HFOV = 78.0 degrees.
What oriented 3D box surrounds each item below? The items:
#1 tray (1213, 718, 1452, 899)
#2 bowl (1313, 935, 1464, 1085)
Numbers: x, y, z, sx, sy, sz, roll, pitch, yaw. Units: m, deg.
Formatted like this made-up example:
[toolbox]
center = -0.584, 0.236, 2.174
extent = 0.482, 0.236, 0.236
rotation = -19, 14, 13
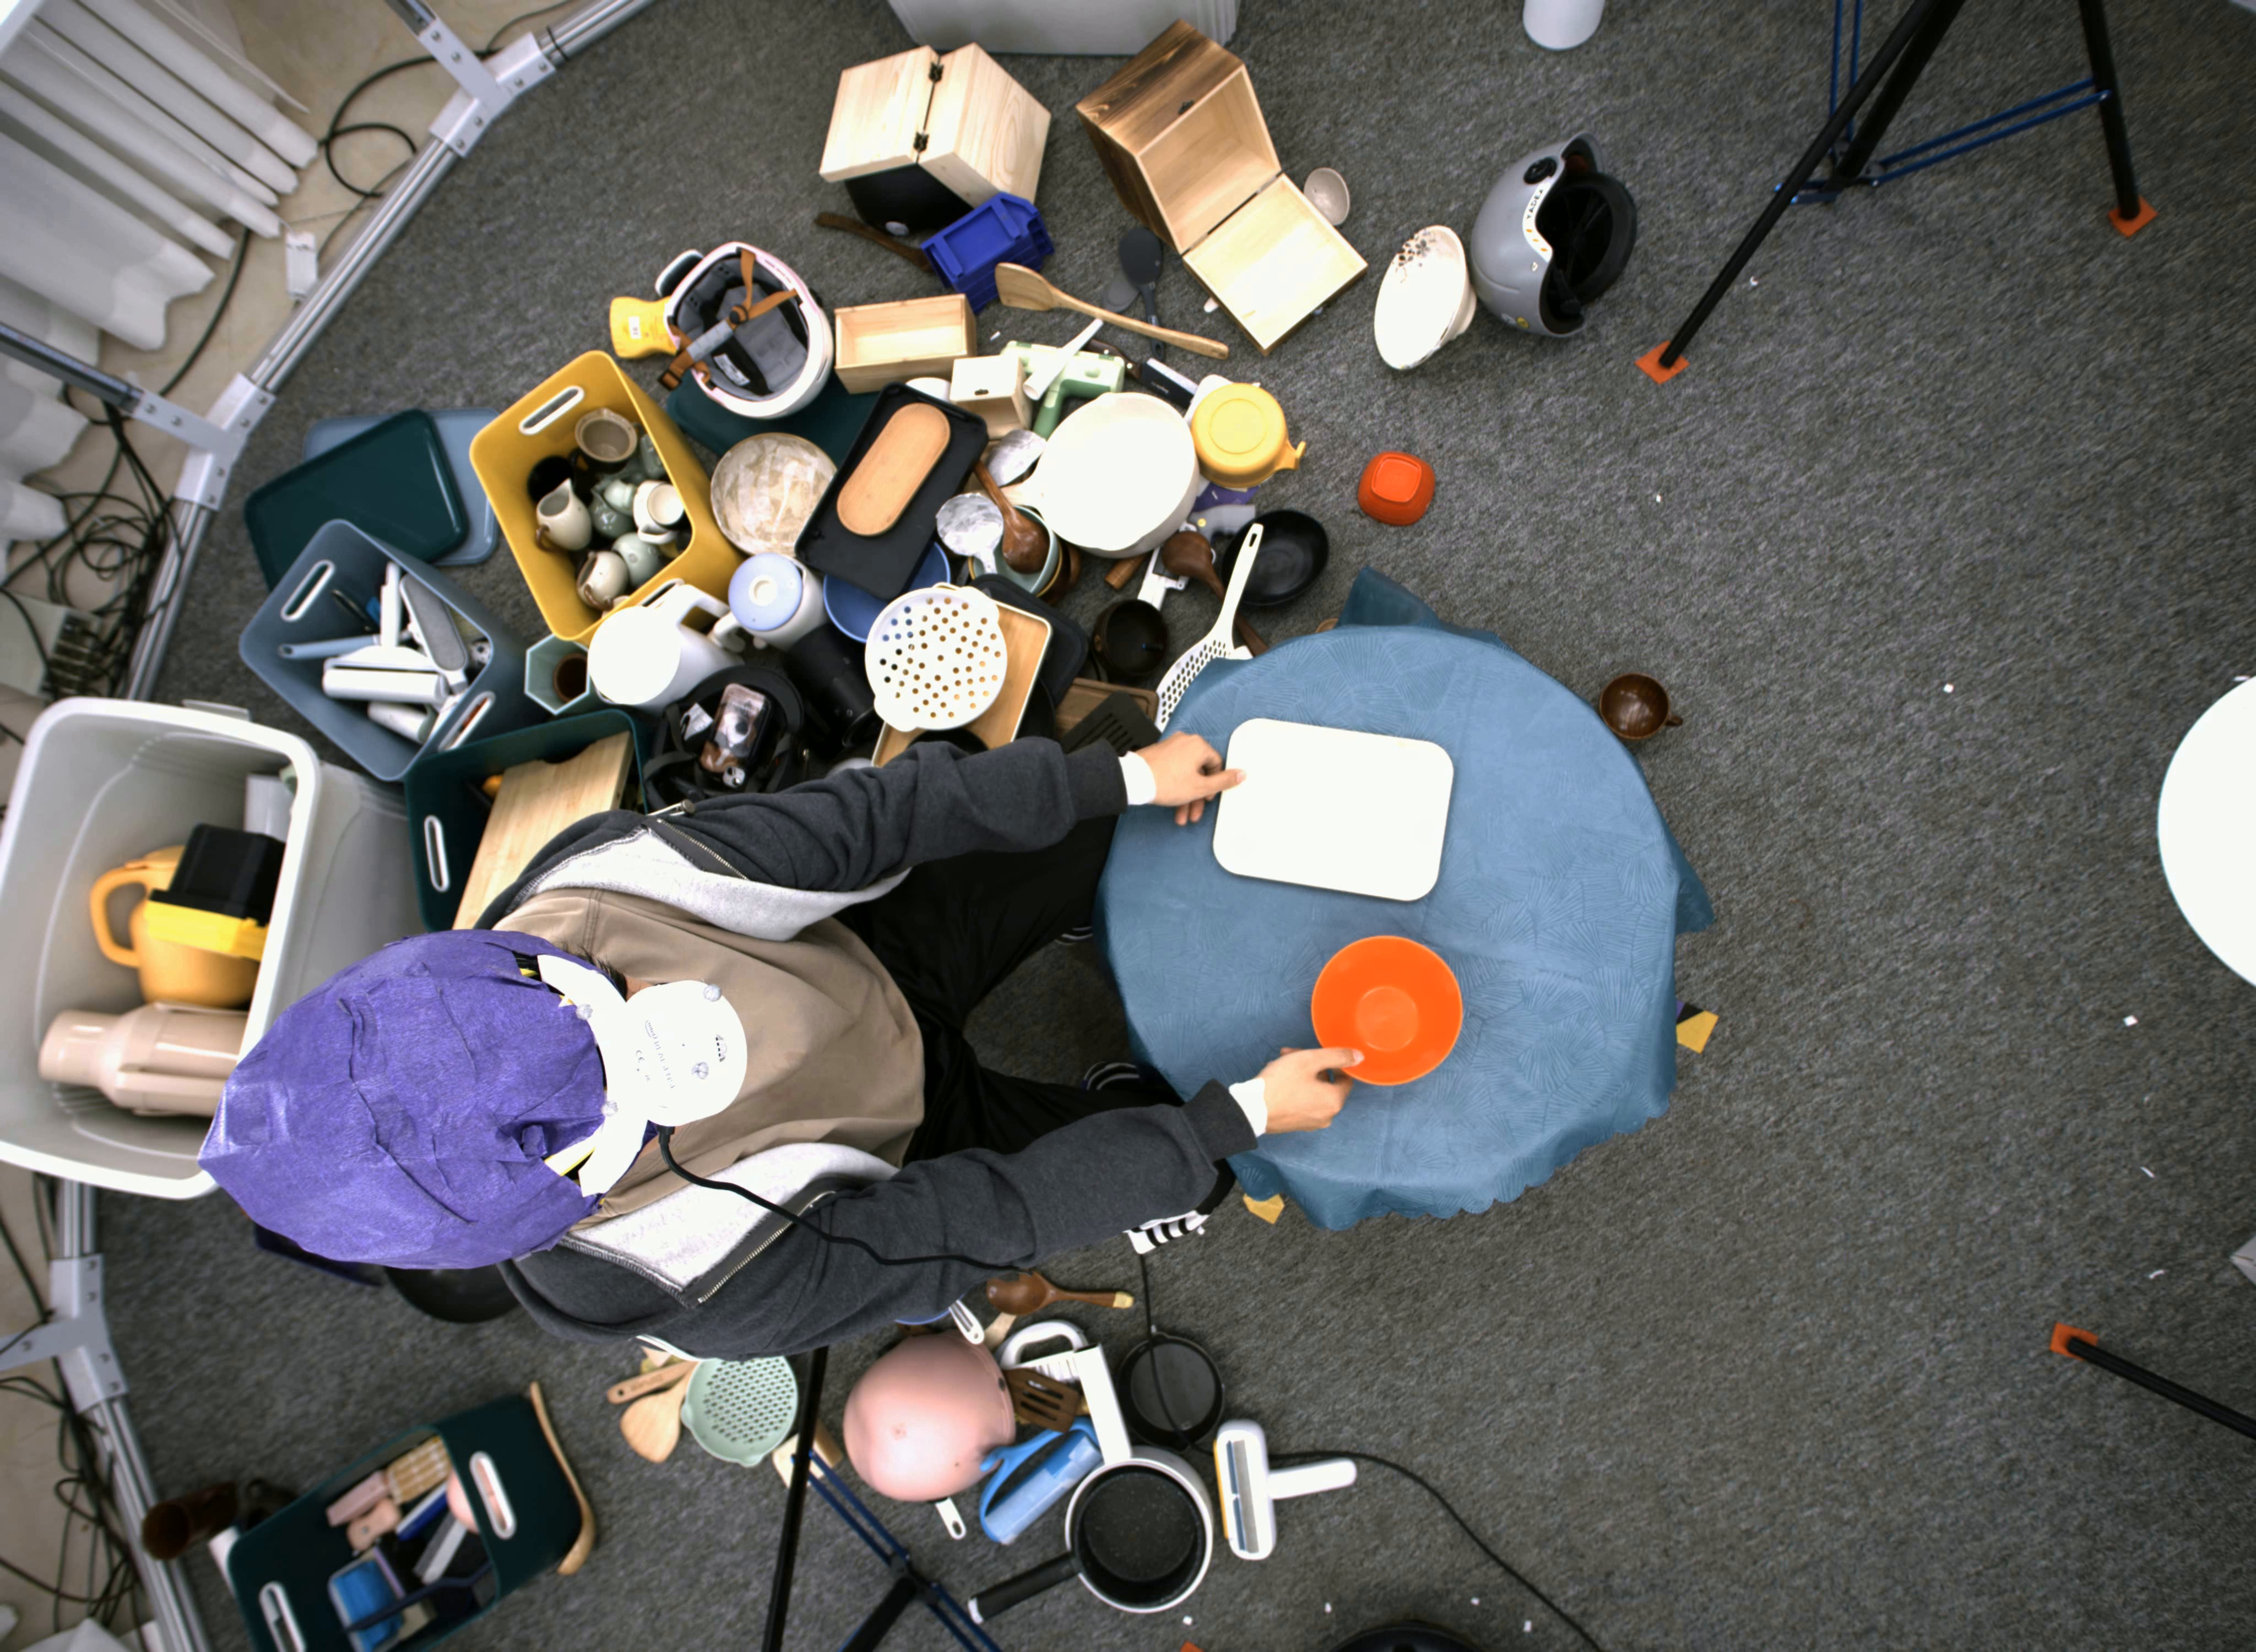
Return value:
[tray]
center = 0.216, -0.020, 1.465
extent = 0.240, 0.017, 0.171
rotation = 9, 89, 11
[bowl]
center = 0.263, 0.185, 1.403
extent = 0.148, 0.105, 0.147
rotation = -1, 85, 9
